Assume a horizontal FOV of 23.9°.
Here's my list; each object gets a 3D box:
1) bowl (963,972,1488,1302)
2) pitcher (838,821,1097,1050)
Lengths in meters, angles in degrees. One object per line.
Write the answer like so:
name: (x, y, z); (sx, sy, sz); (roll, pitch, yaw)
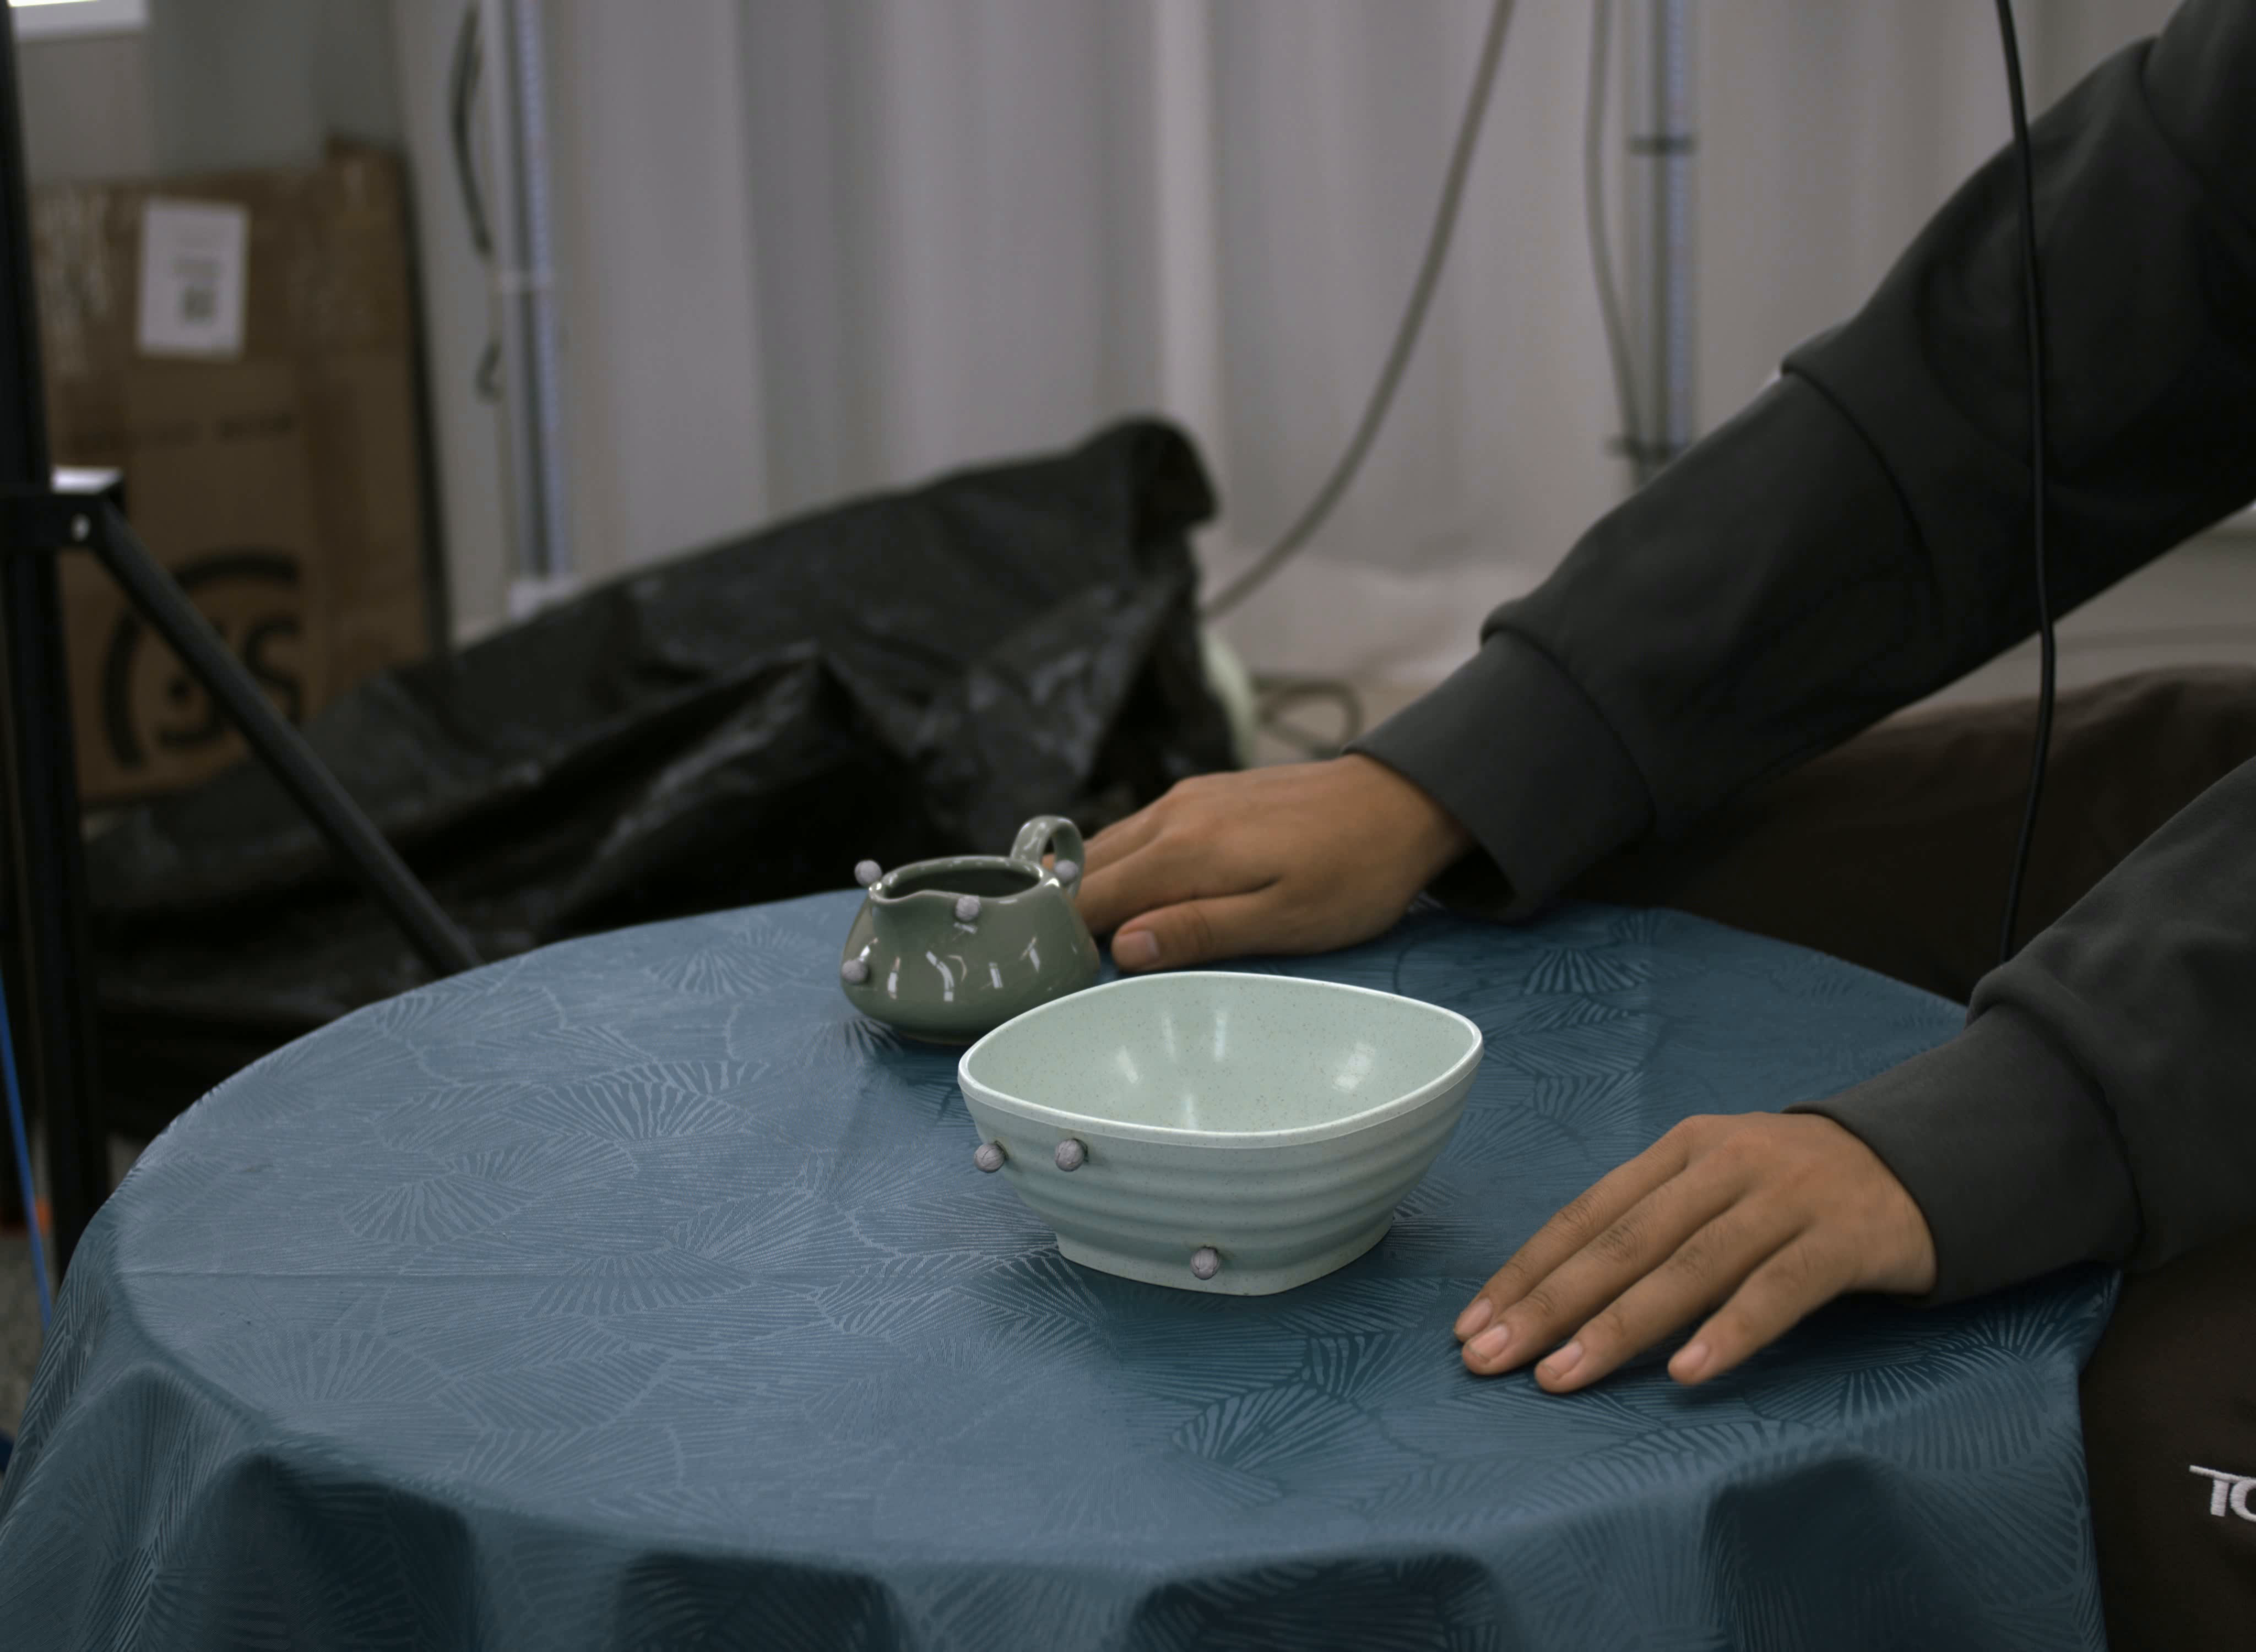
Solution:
bowl: (0.029, 0.092, 1.510); (0.151, 0.058, 0.152); (-4, 16, 0)
pitcher: (-0.048, 0.036, 1.720); (0.086, 0.056, 0.110); (7, 17, 30)
